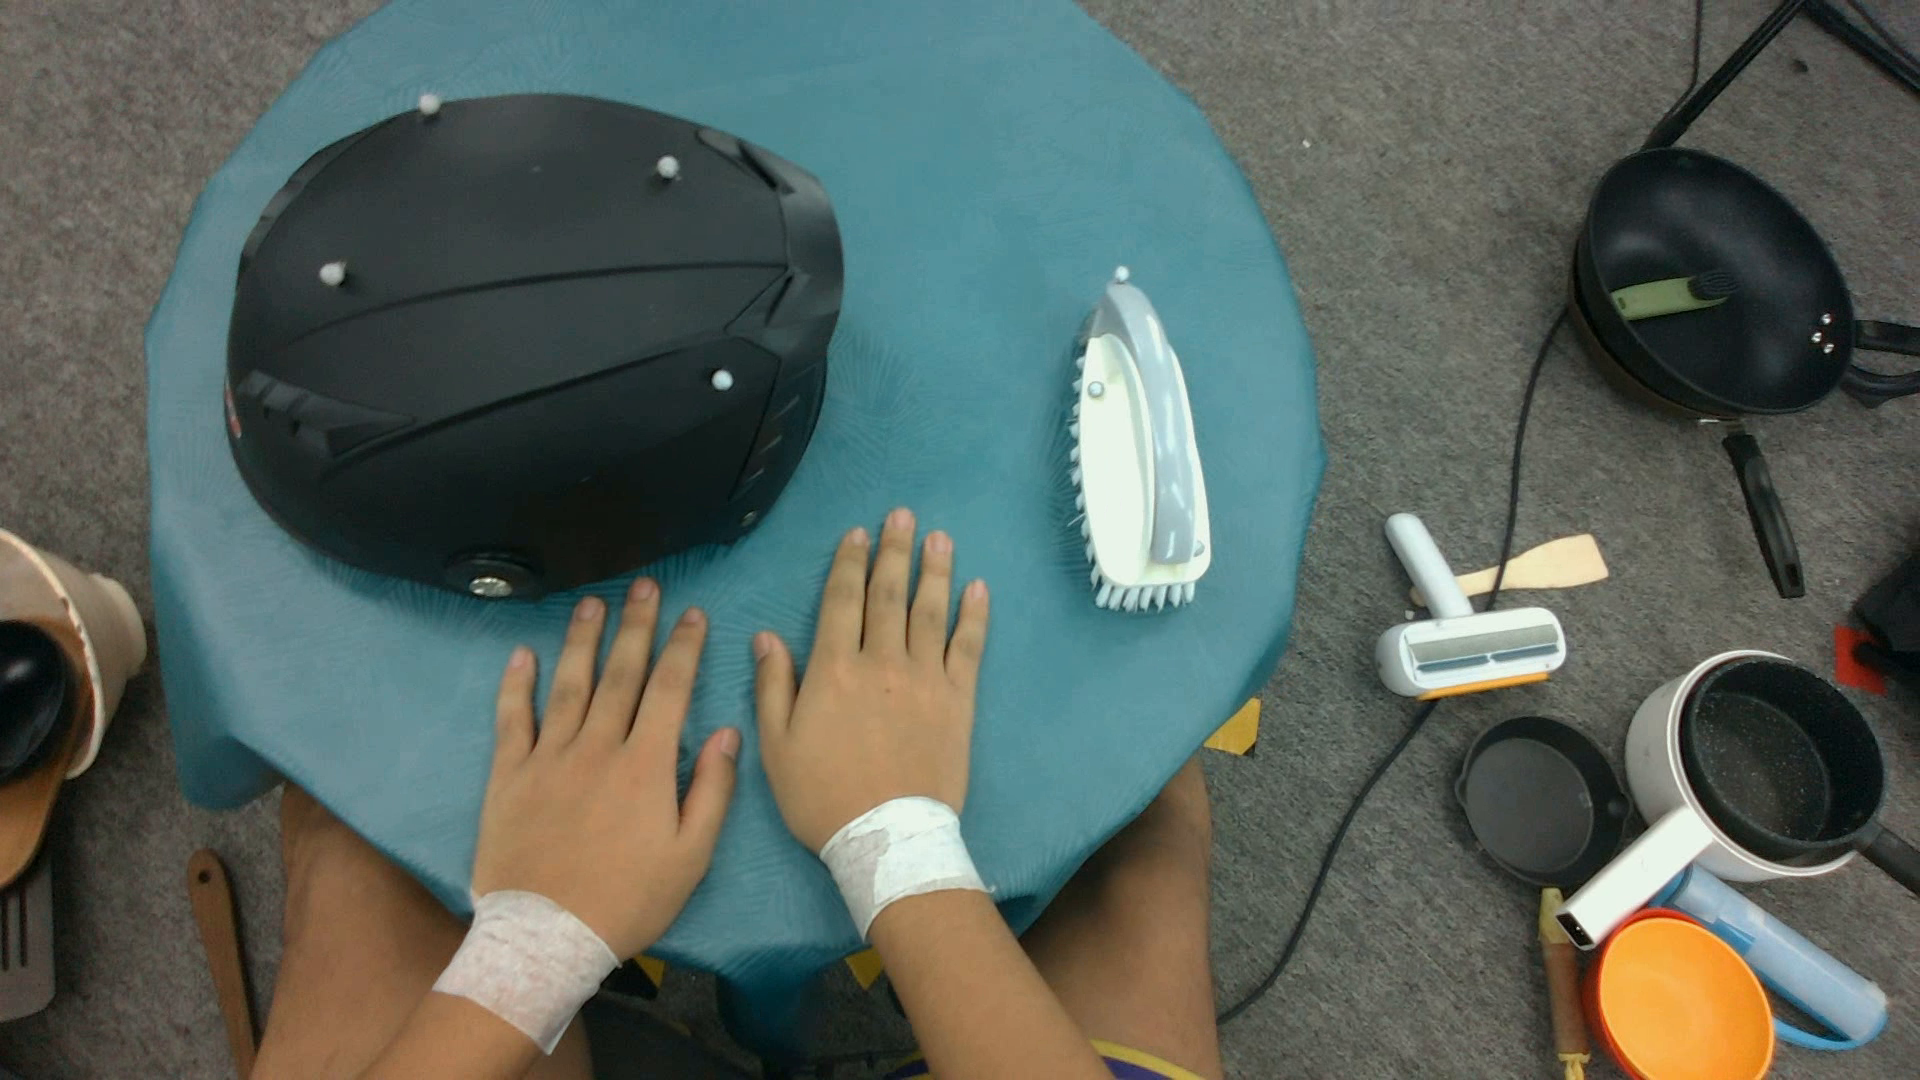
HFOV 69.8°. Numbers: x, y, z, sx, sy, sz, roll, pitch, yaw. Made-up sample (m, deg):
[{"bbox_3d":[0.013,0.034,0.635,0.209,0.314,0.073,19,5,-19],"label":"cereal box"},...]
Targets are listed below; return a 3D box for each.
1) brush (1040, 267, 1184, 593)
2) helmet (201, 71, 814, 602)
[{"bbox_3d":[0.076,-0.069,0.690,0.061,0.094,0.176,-2,67,-12],"label":"brush"},{"bbox_3d":[-0.205,-0.108,0.621,0.277,0.171,0.247,-5,69,-16],"label":"helmet"}]
